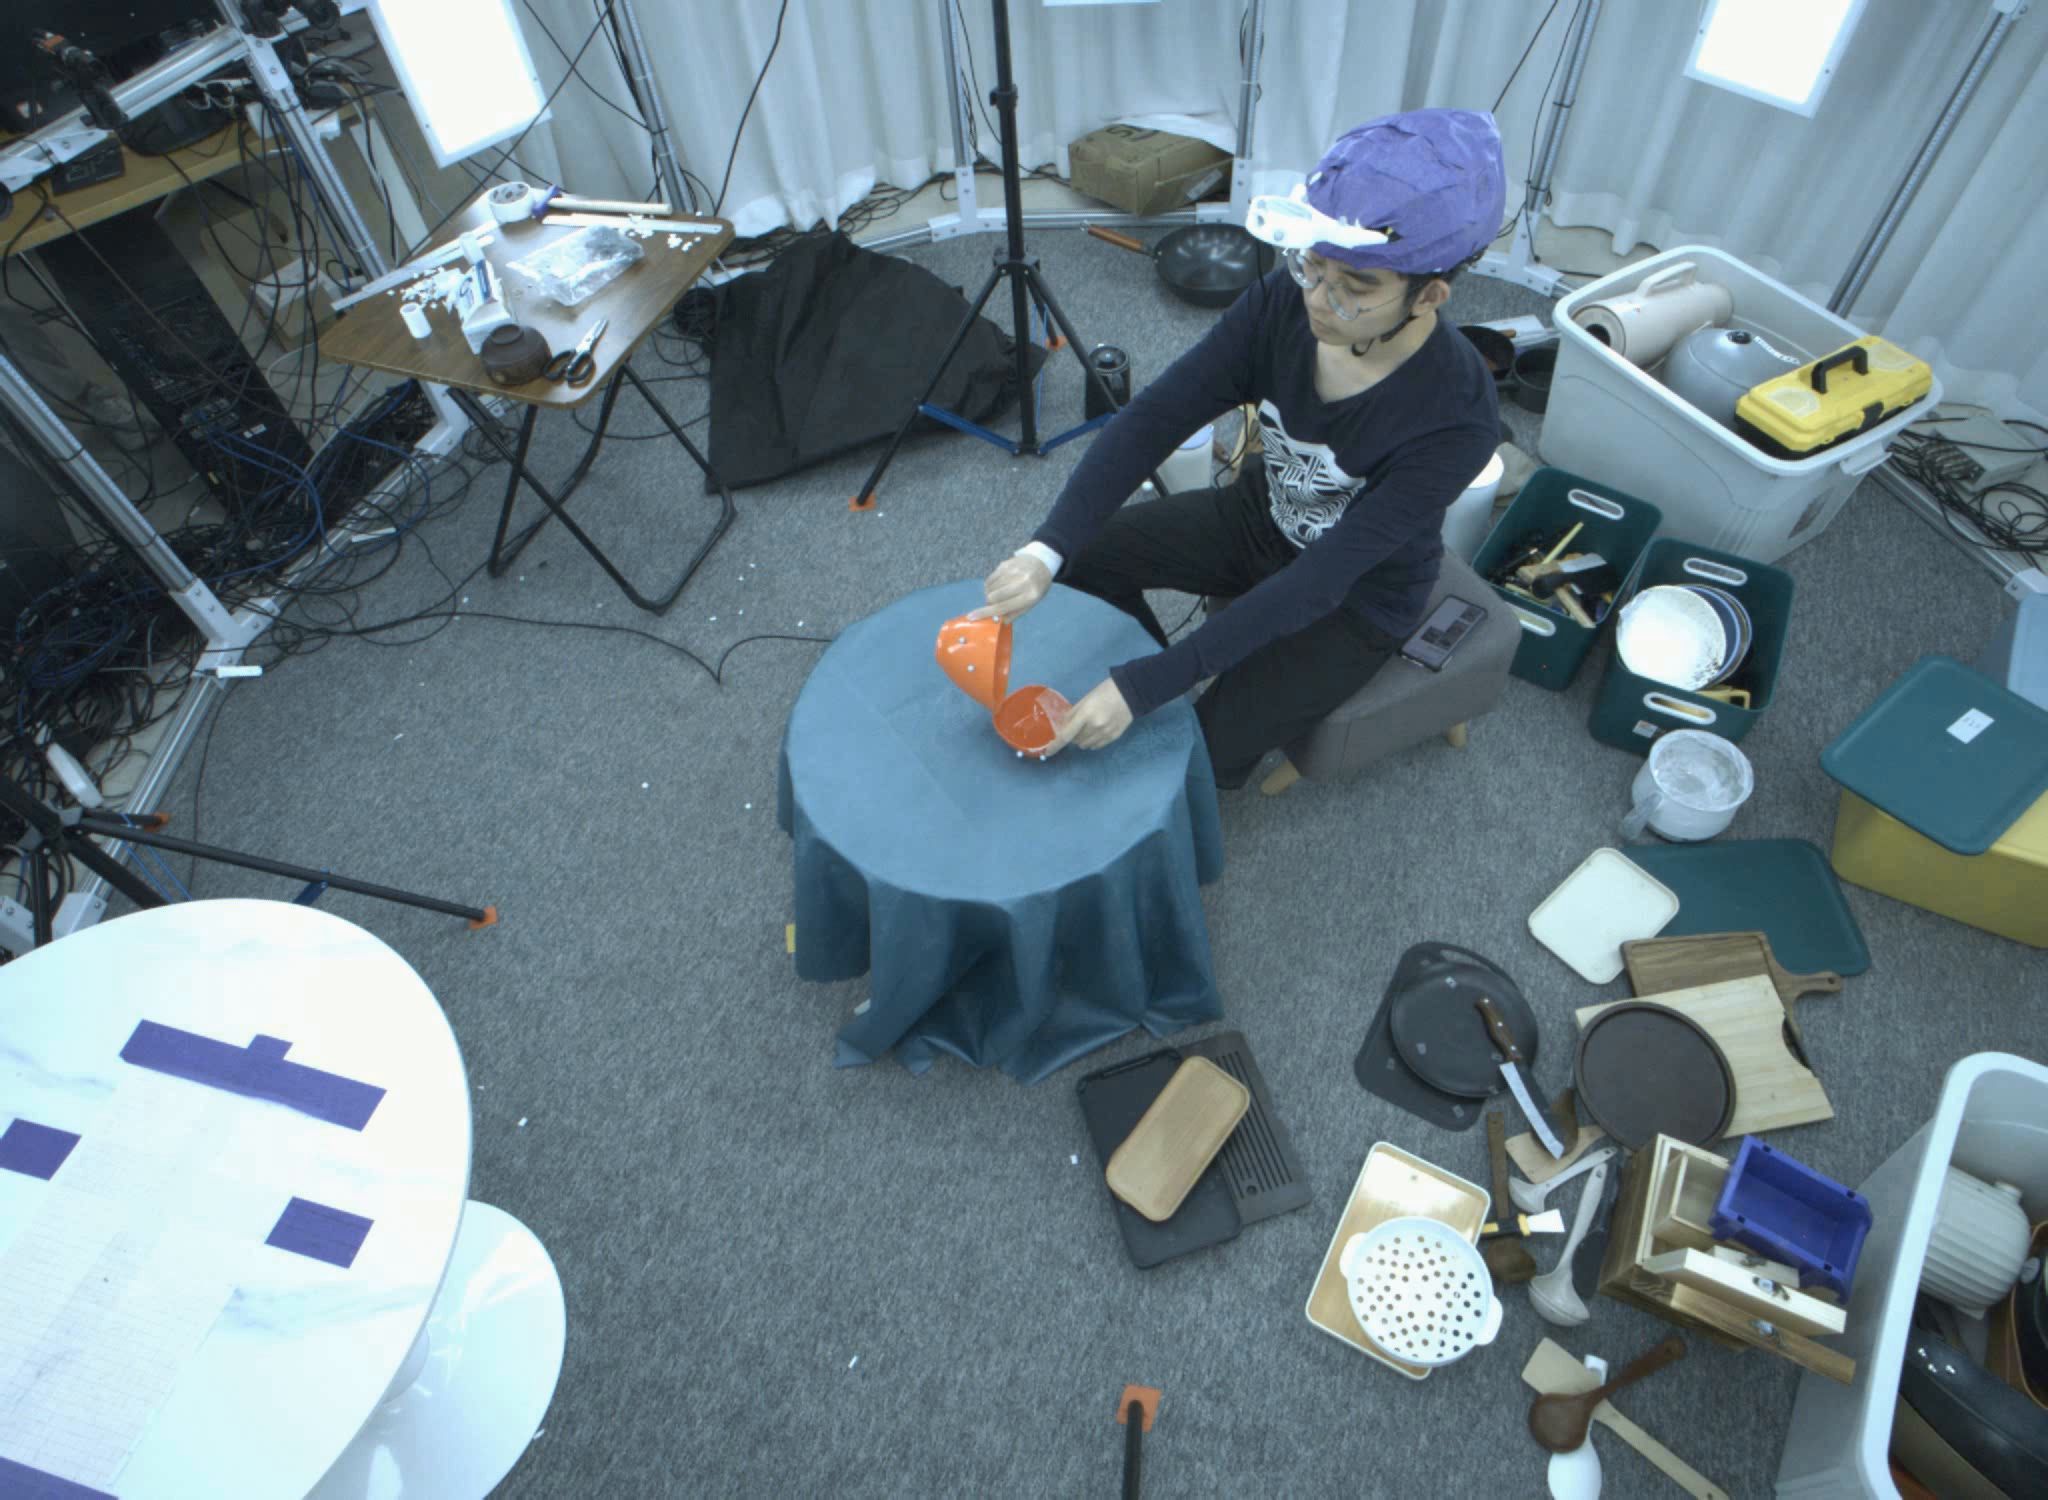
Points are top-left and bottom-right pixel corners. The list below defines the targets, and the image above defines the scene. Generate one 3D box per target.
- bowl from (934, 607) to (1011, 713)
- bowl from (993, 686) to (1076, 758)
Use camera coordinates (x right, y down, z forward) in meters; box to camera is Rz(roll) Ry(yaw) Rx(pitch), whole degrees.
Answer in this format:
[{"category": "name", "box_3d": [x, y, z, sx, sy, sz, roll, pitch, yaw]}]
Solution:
[{"category": "bowl", "box_3d": [-0.071, -0.135, 1.727, 0.103, 0.150, 0.147, 13, 56, 14]}, {"category": "bowl", "box_3d": [0.016, -0.034, 1.789, 0.119, 0.052, 0.117, 0, 52, 1]}]
